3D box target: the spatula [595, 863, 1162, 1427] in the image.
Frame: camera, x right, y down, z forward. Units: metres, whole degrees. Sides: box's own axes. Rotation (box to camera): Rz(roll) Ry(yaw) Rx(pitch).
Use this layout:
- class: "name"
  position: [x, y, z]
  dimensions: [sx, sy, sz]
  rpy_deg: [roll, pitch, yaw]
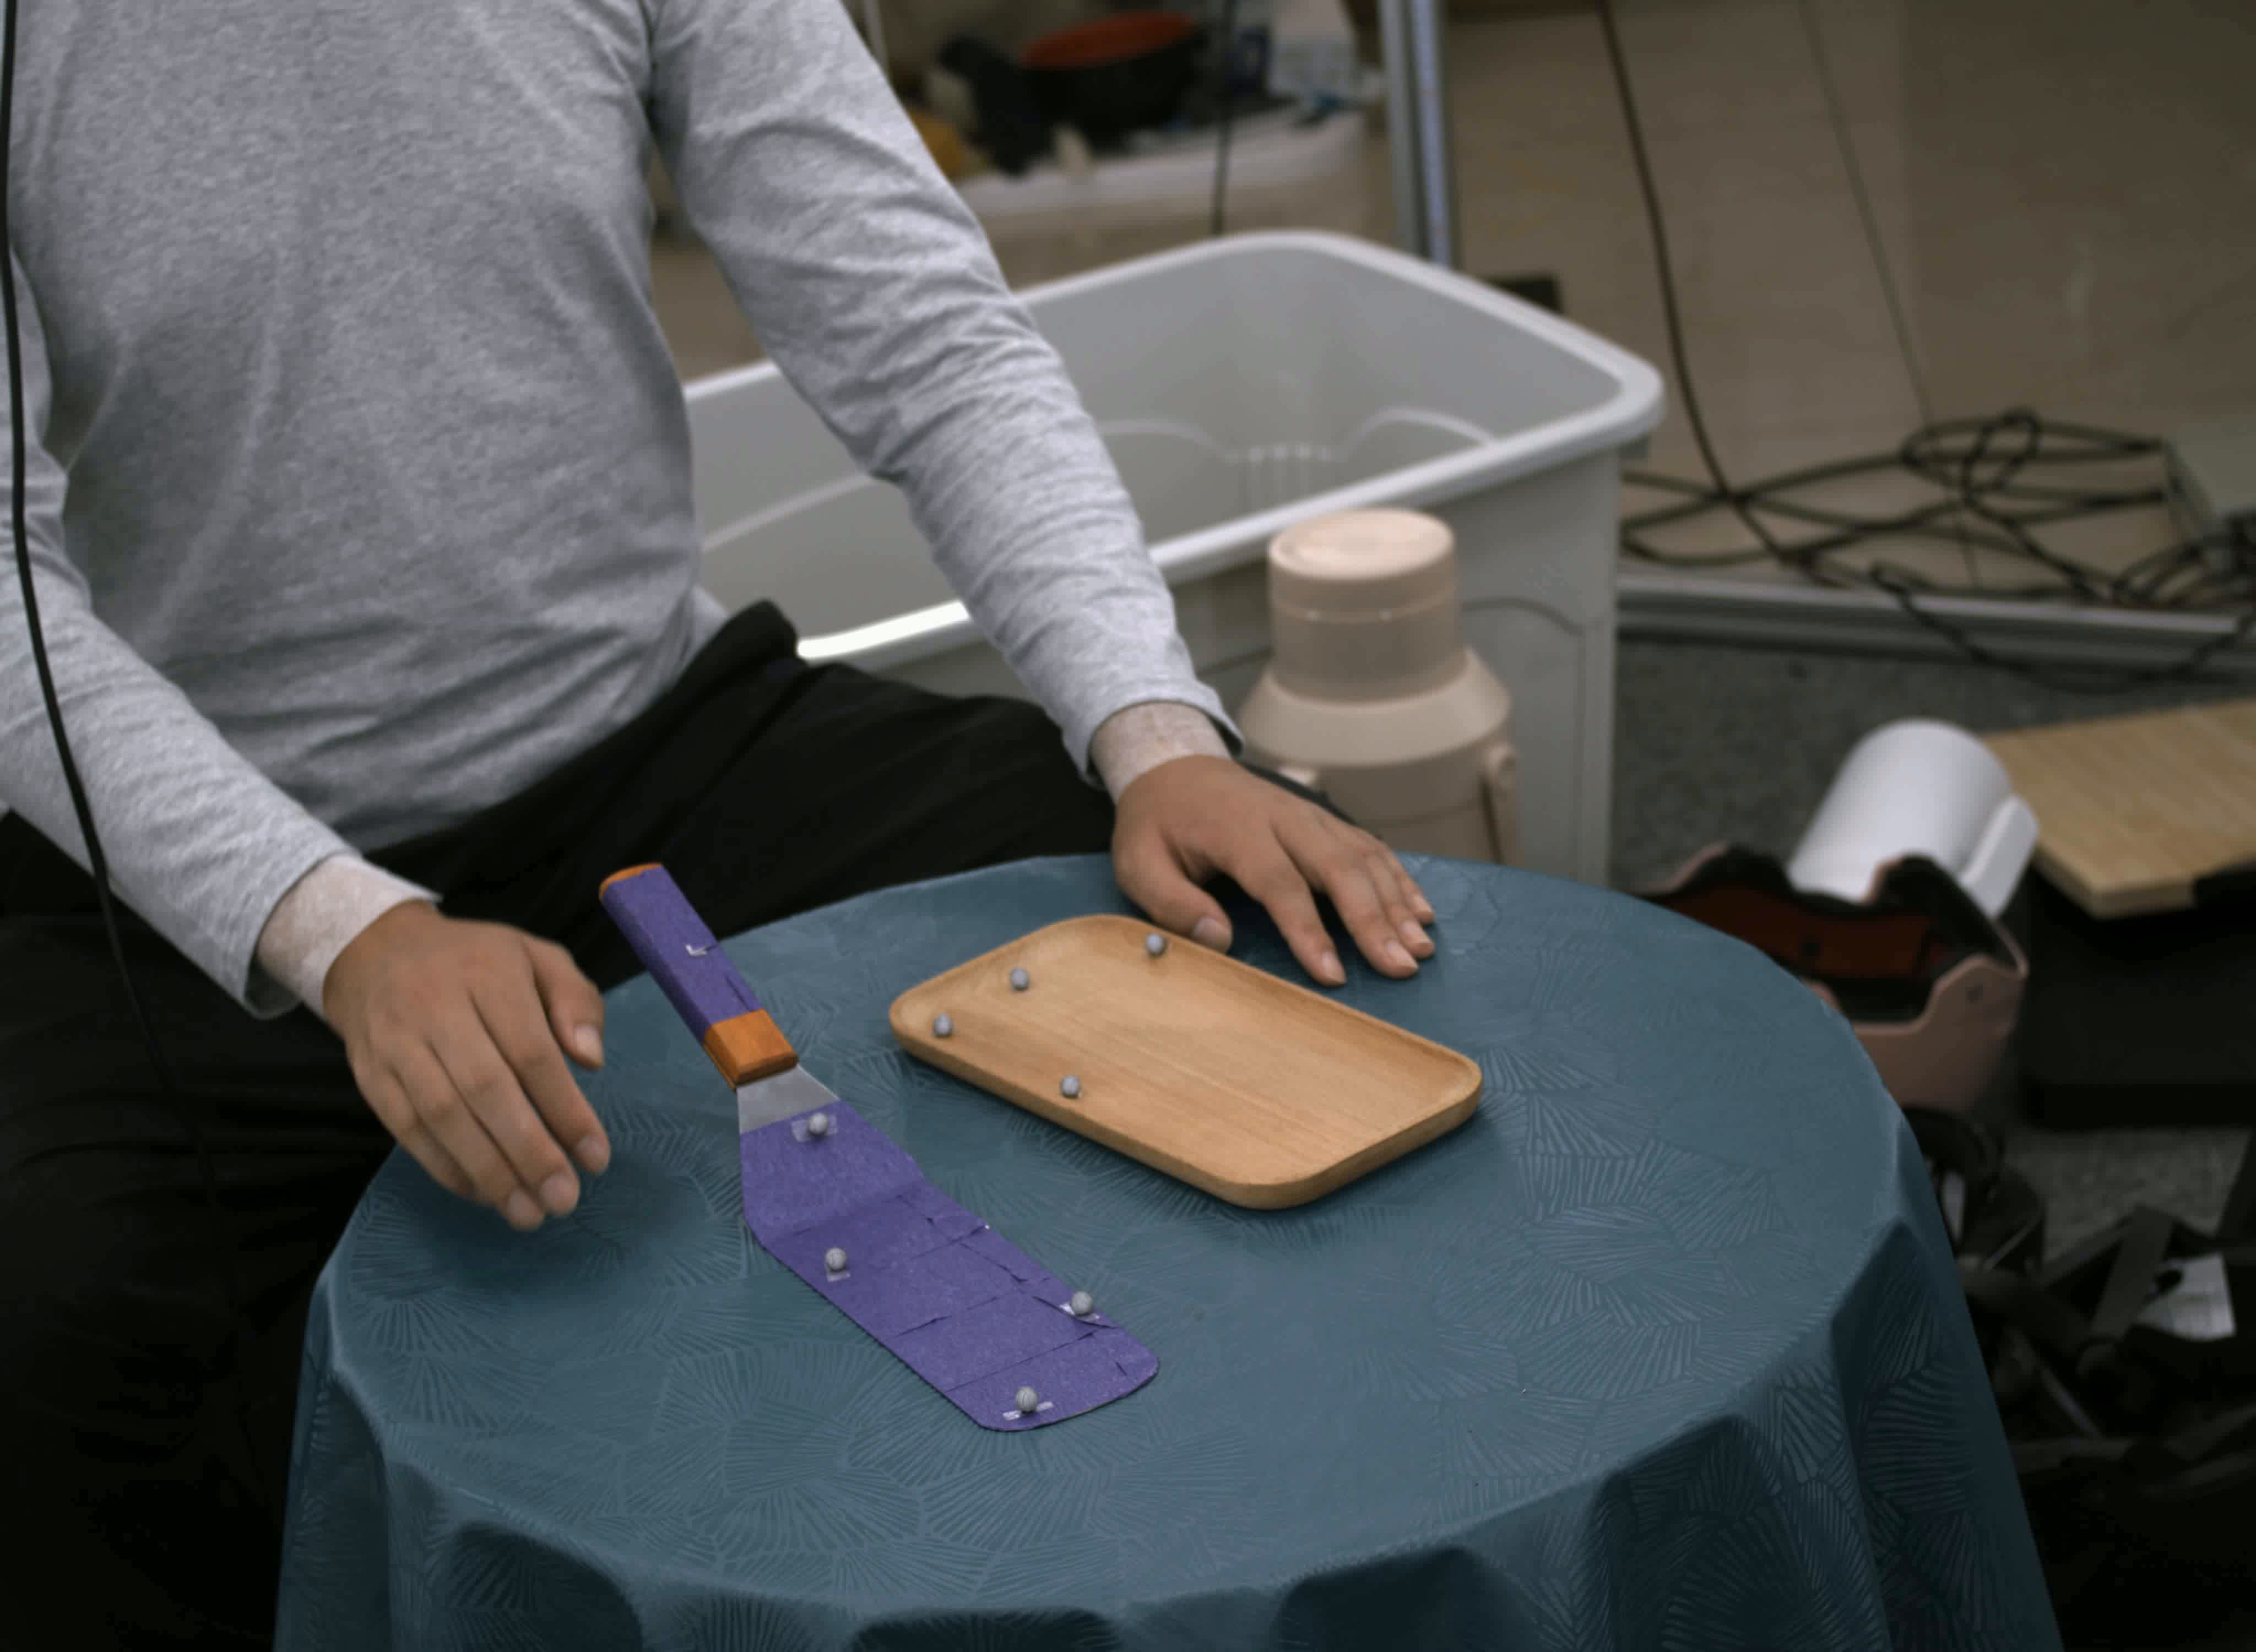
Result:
- class: "spatula"
  position: [-0.106, 0.114, 2.132]
  dimensions: [0.075, 0.088, 0.354]
  rpy_deg: [-18, 53, -26]

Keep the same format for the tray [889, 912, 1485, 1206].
- class: "tray"
  position: [0.021, 0.090, 2.229]
  dimensions: [0.129, 0.023, 0.248]
  rpy_deg: [-27, 32, -31]
